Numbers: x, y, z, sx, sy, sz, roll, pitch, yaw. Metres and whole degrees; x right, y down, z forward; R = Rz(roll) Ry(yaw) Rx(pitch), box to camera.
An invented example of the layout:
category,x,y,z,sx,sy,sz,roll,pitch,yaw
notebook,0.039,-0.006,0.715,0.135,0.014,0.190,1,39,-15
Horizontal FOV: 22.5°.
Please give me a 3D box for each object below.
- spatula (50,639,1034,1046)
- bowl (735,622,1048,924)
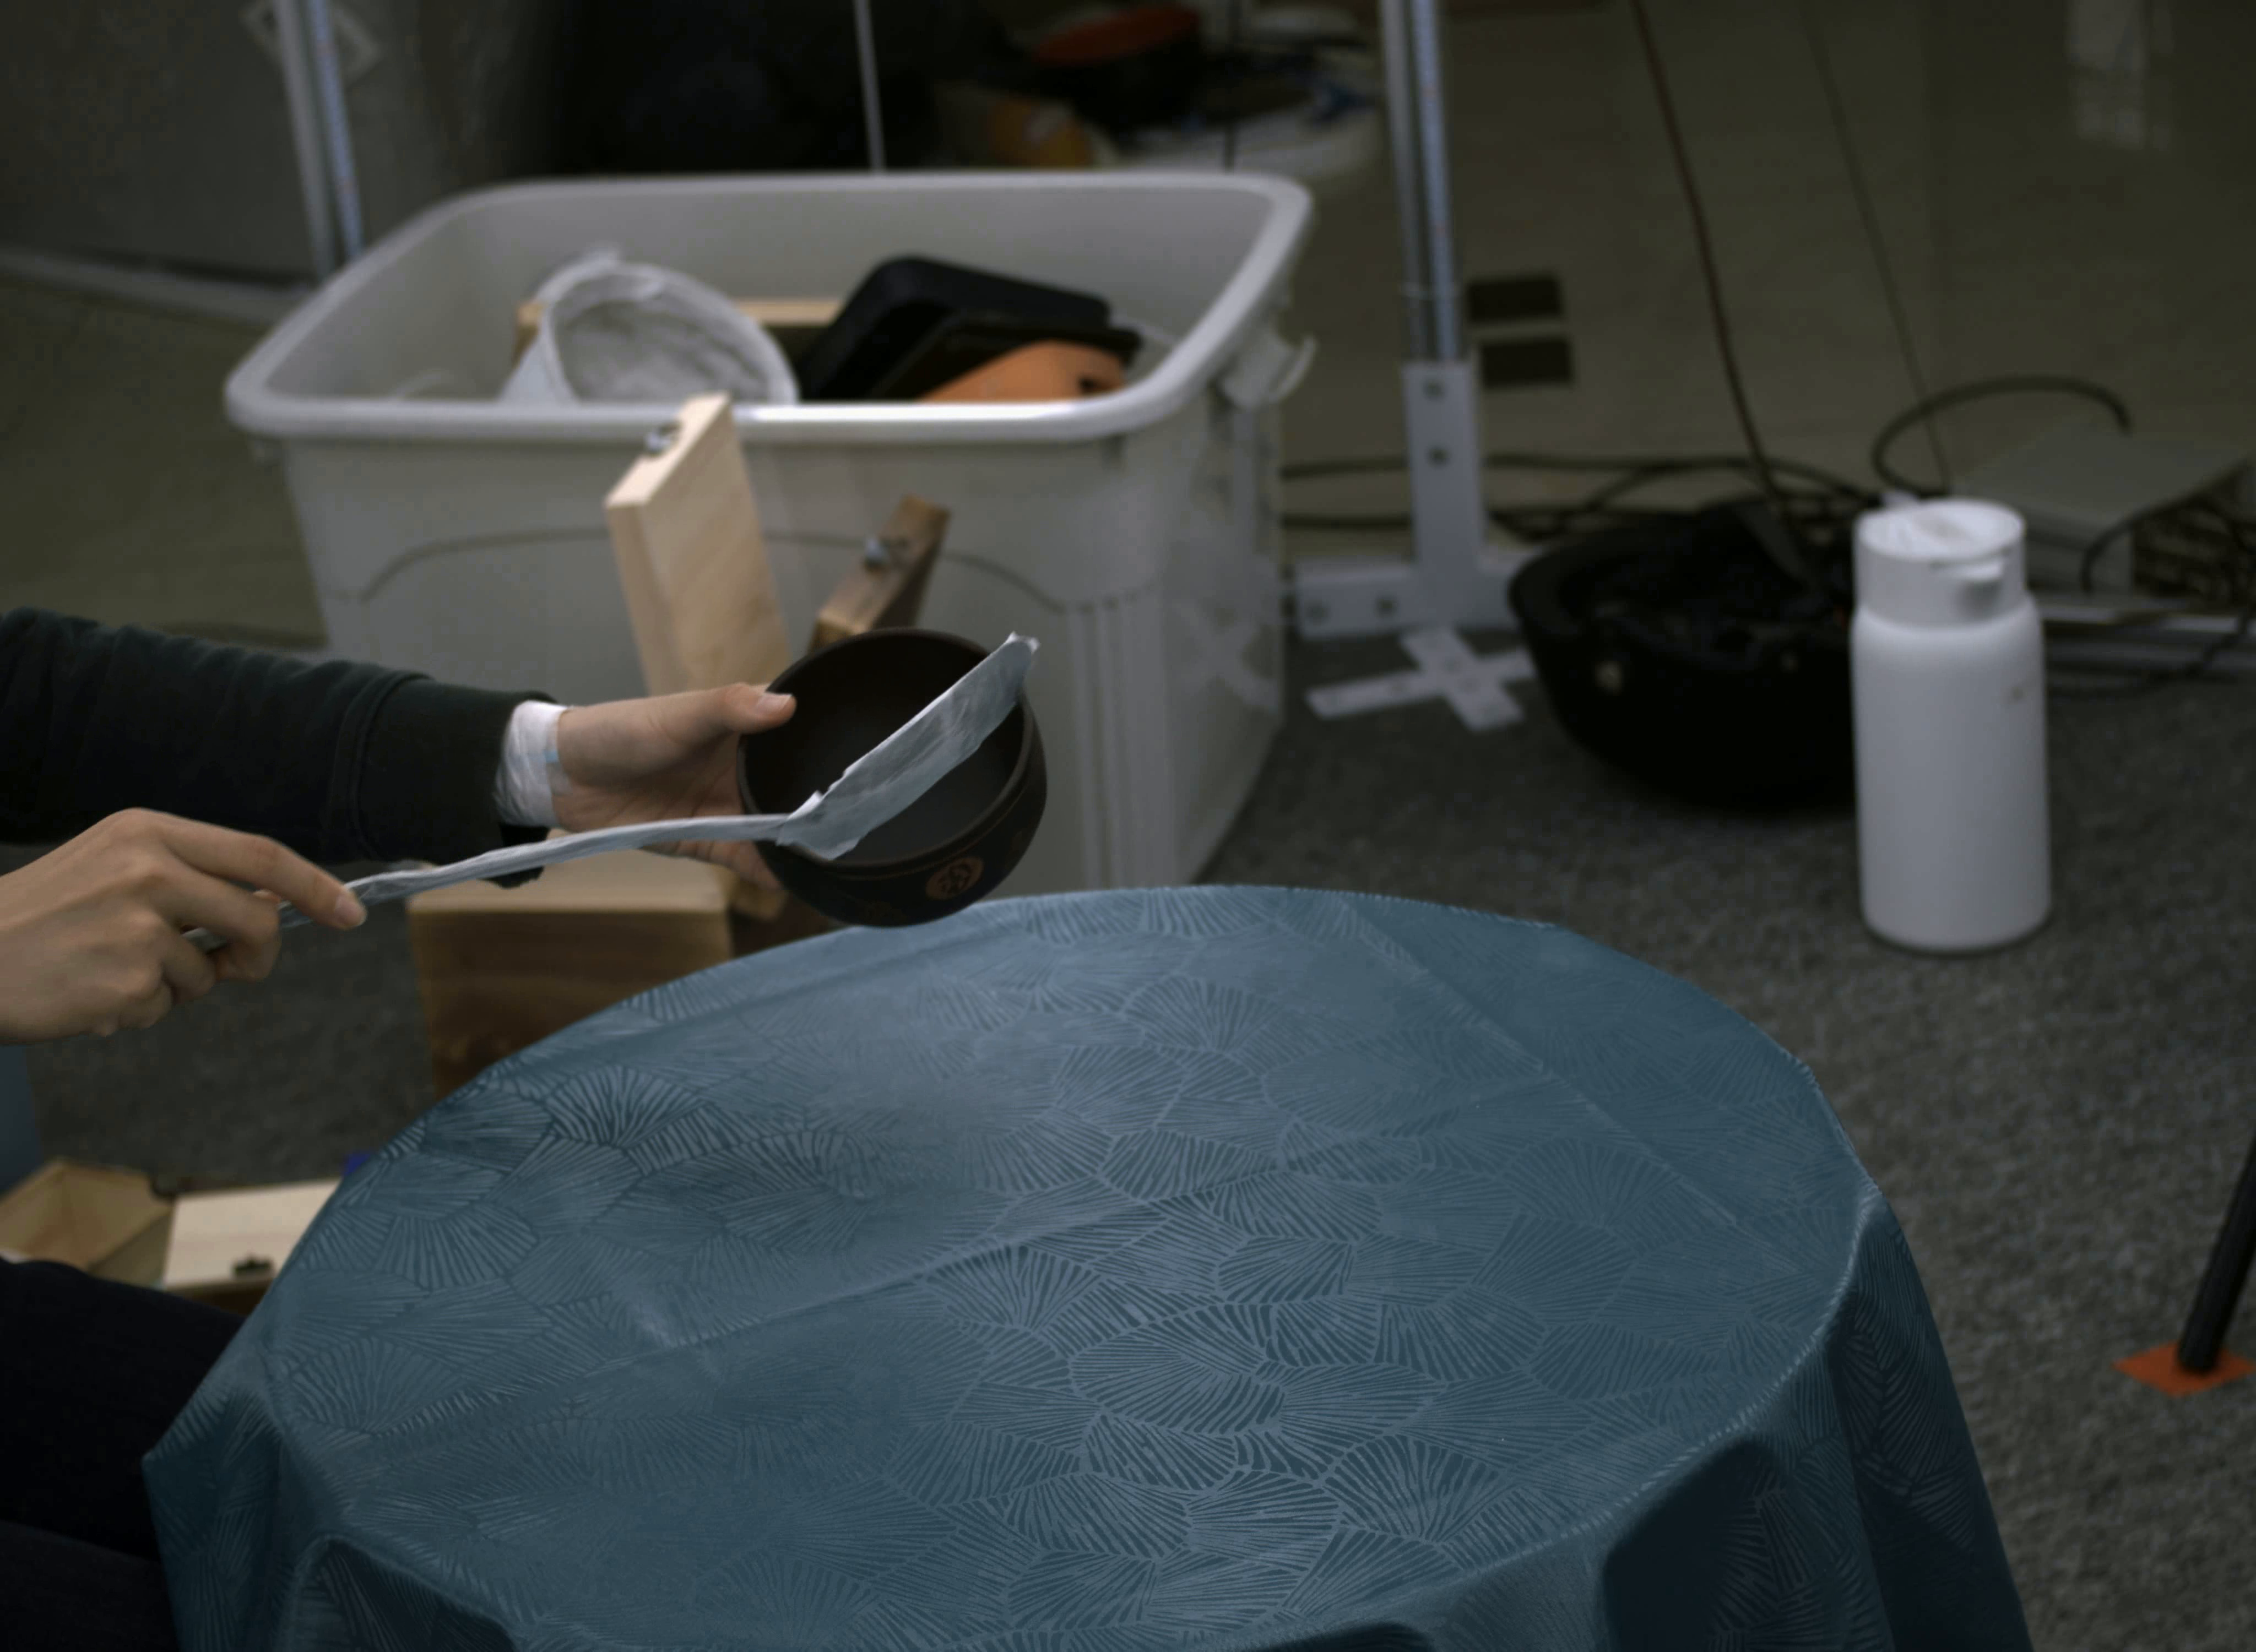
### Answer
category,x,y,z,sx,sy,sz,roll,pitch,yaw
spatula,-0.198,0.008,1.952,0.363,0.044,0.100,-14,-17,-16
bowl,-0.087,-0.012,2.152,0.118,0.071,0.116,-5,52,7
